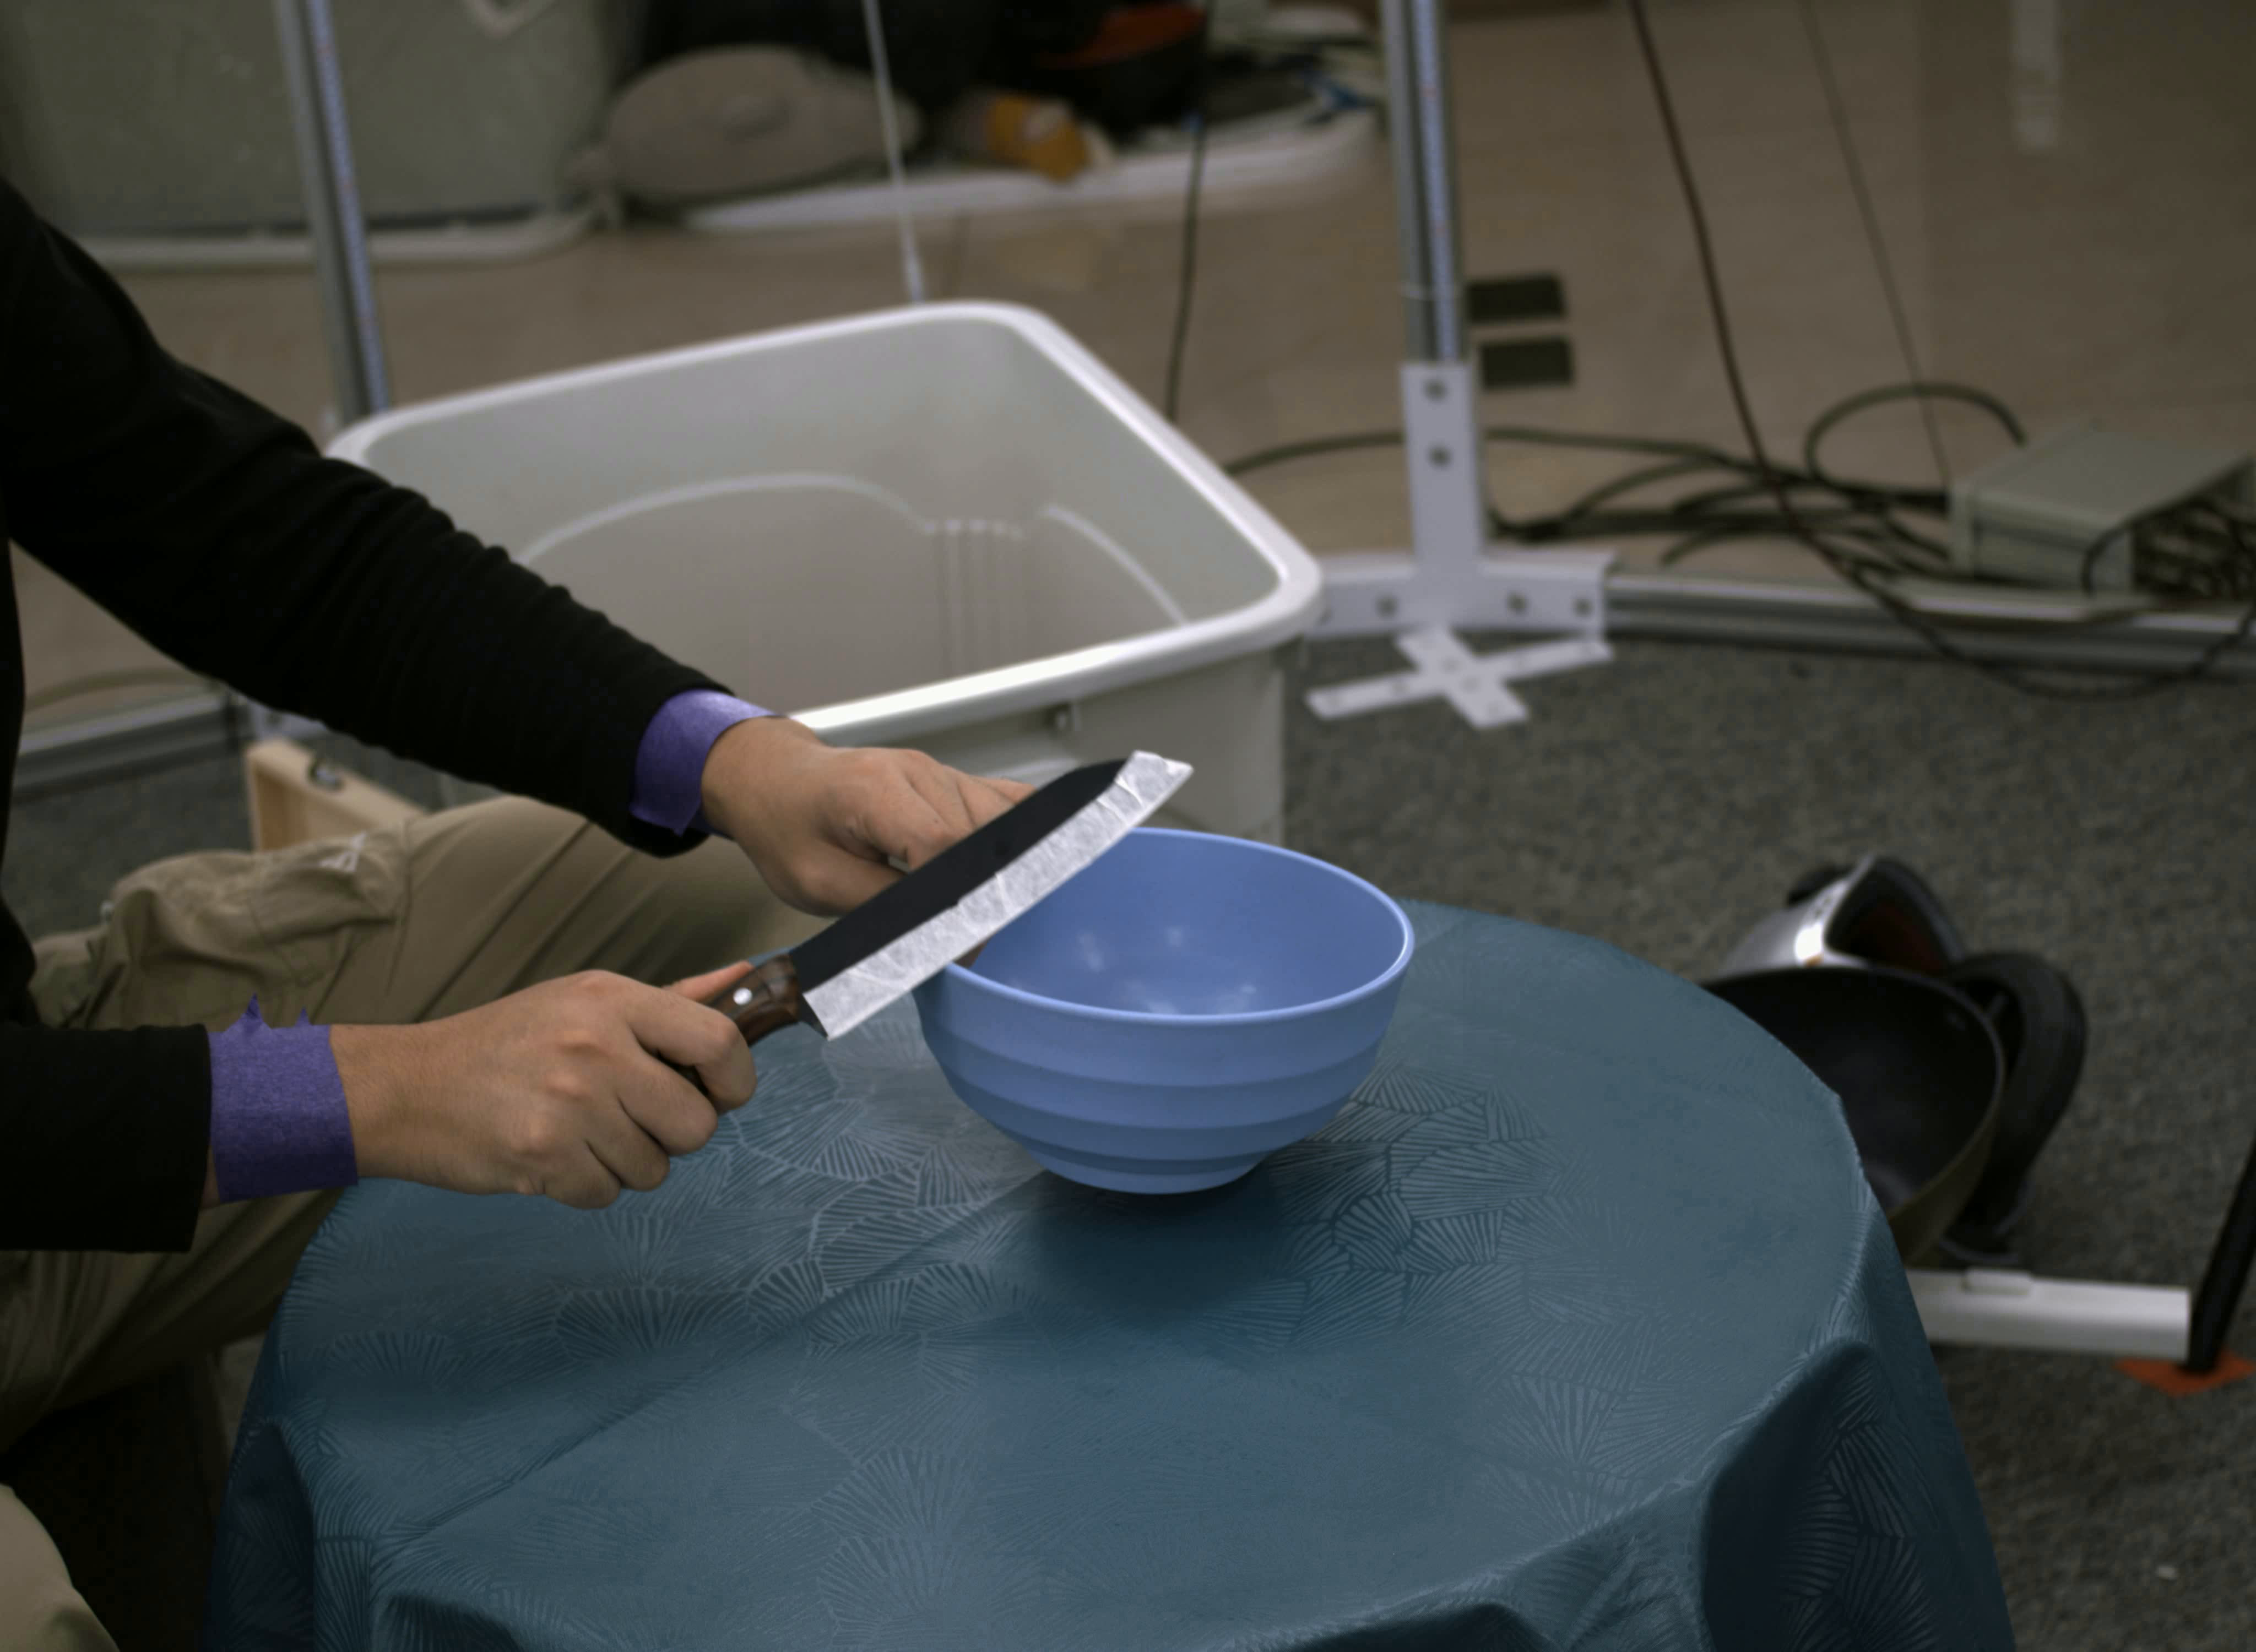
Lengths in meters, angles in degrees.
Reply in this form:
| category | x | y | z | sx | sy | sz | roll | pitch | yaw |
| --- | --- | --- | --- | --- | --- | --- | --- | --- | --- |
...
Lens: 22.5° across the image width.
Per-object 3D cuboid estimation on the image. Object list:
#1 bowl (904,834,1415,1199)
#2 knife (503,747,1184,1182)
| category | x | y | z | sx | sy | sz | roll | pitch | yaw |
| --- | --- | --- | --- | --- | --- | --- | --- | --- | --- |
| bowl | 0.008 | 0.080 | 2.148 | 0.196 | 0.097 | 0.194 | 2 | 21 | -1 |
| knife | -0.103 | 0.049 | 2.087 | 0.289 | 0.020 | 0.049 | -32 | 58 | -2 |
